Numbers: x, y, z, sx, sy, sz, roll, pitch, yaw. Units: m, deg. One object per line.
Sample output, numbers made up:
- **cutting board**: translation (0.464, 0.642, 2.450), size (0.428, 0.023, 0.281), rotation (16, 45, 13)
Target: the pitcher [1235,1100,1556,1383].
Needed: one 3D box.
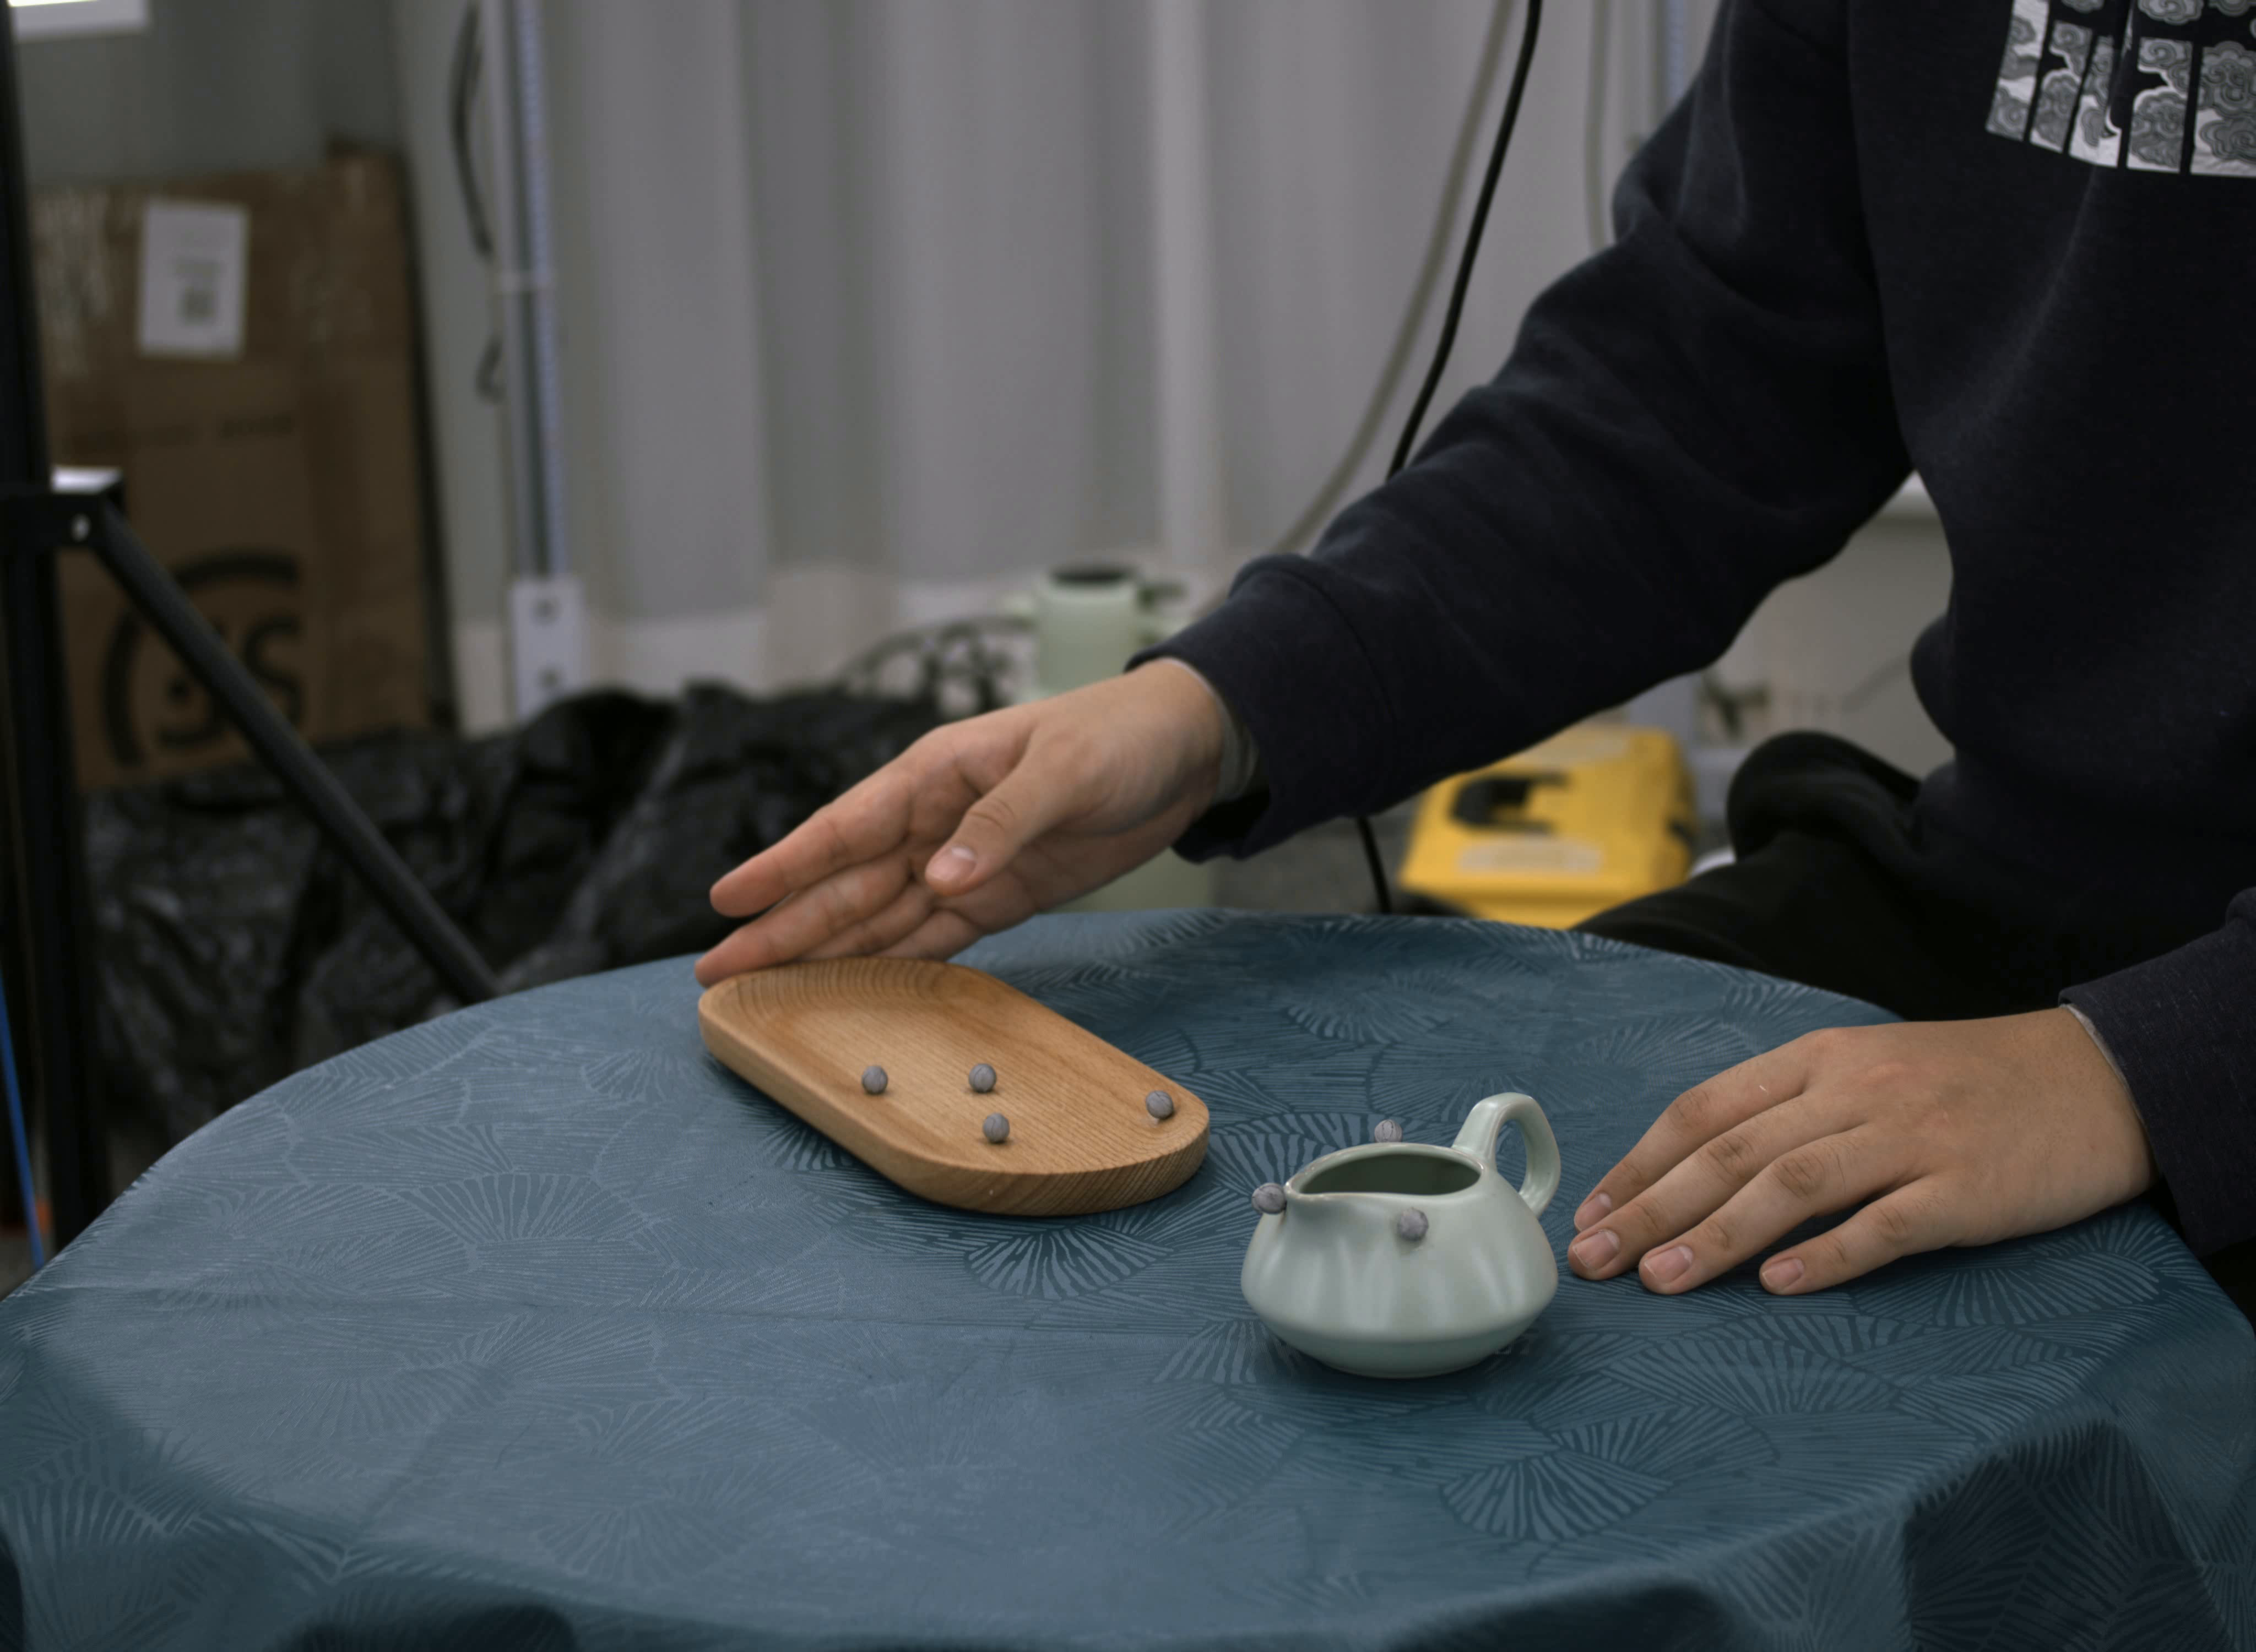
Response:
- **pitcher**: translation (0.080, 0.112, 1.431), size (0.088, 0.060, 0.105), rotation (13, 19, 40)

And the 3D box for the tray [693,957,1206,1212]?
- **tray**: translation (-0.057, 0.078, 1.641), size (0.099, 0.020, 0.236), rotation (-10, 16, -25)
